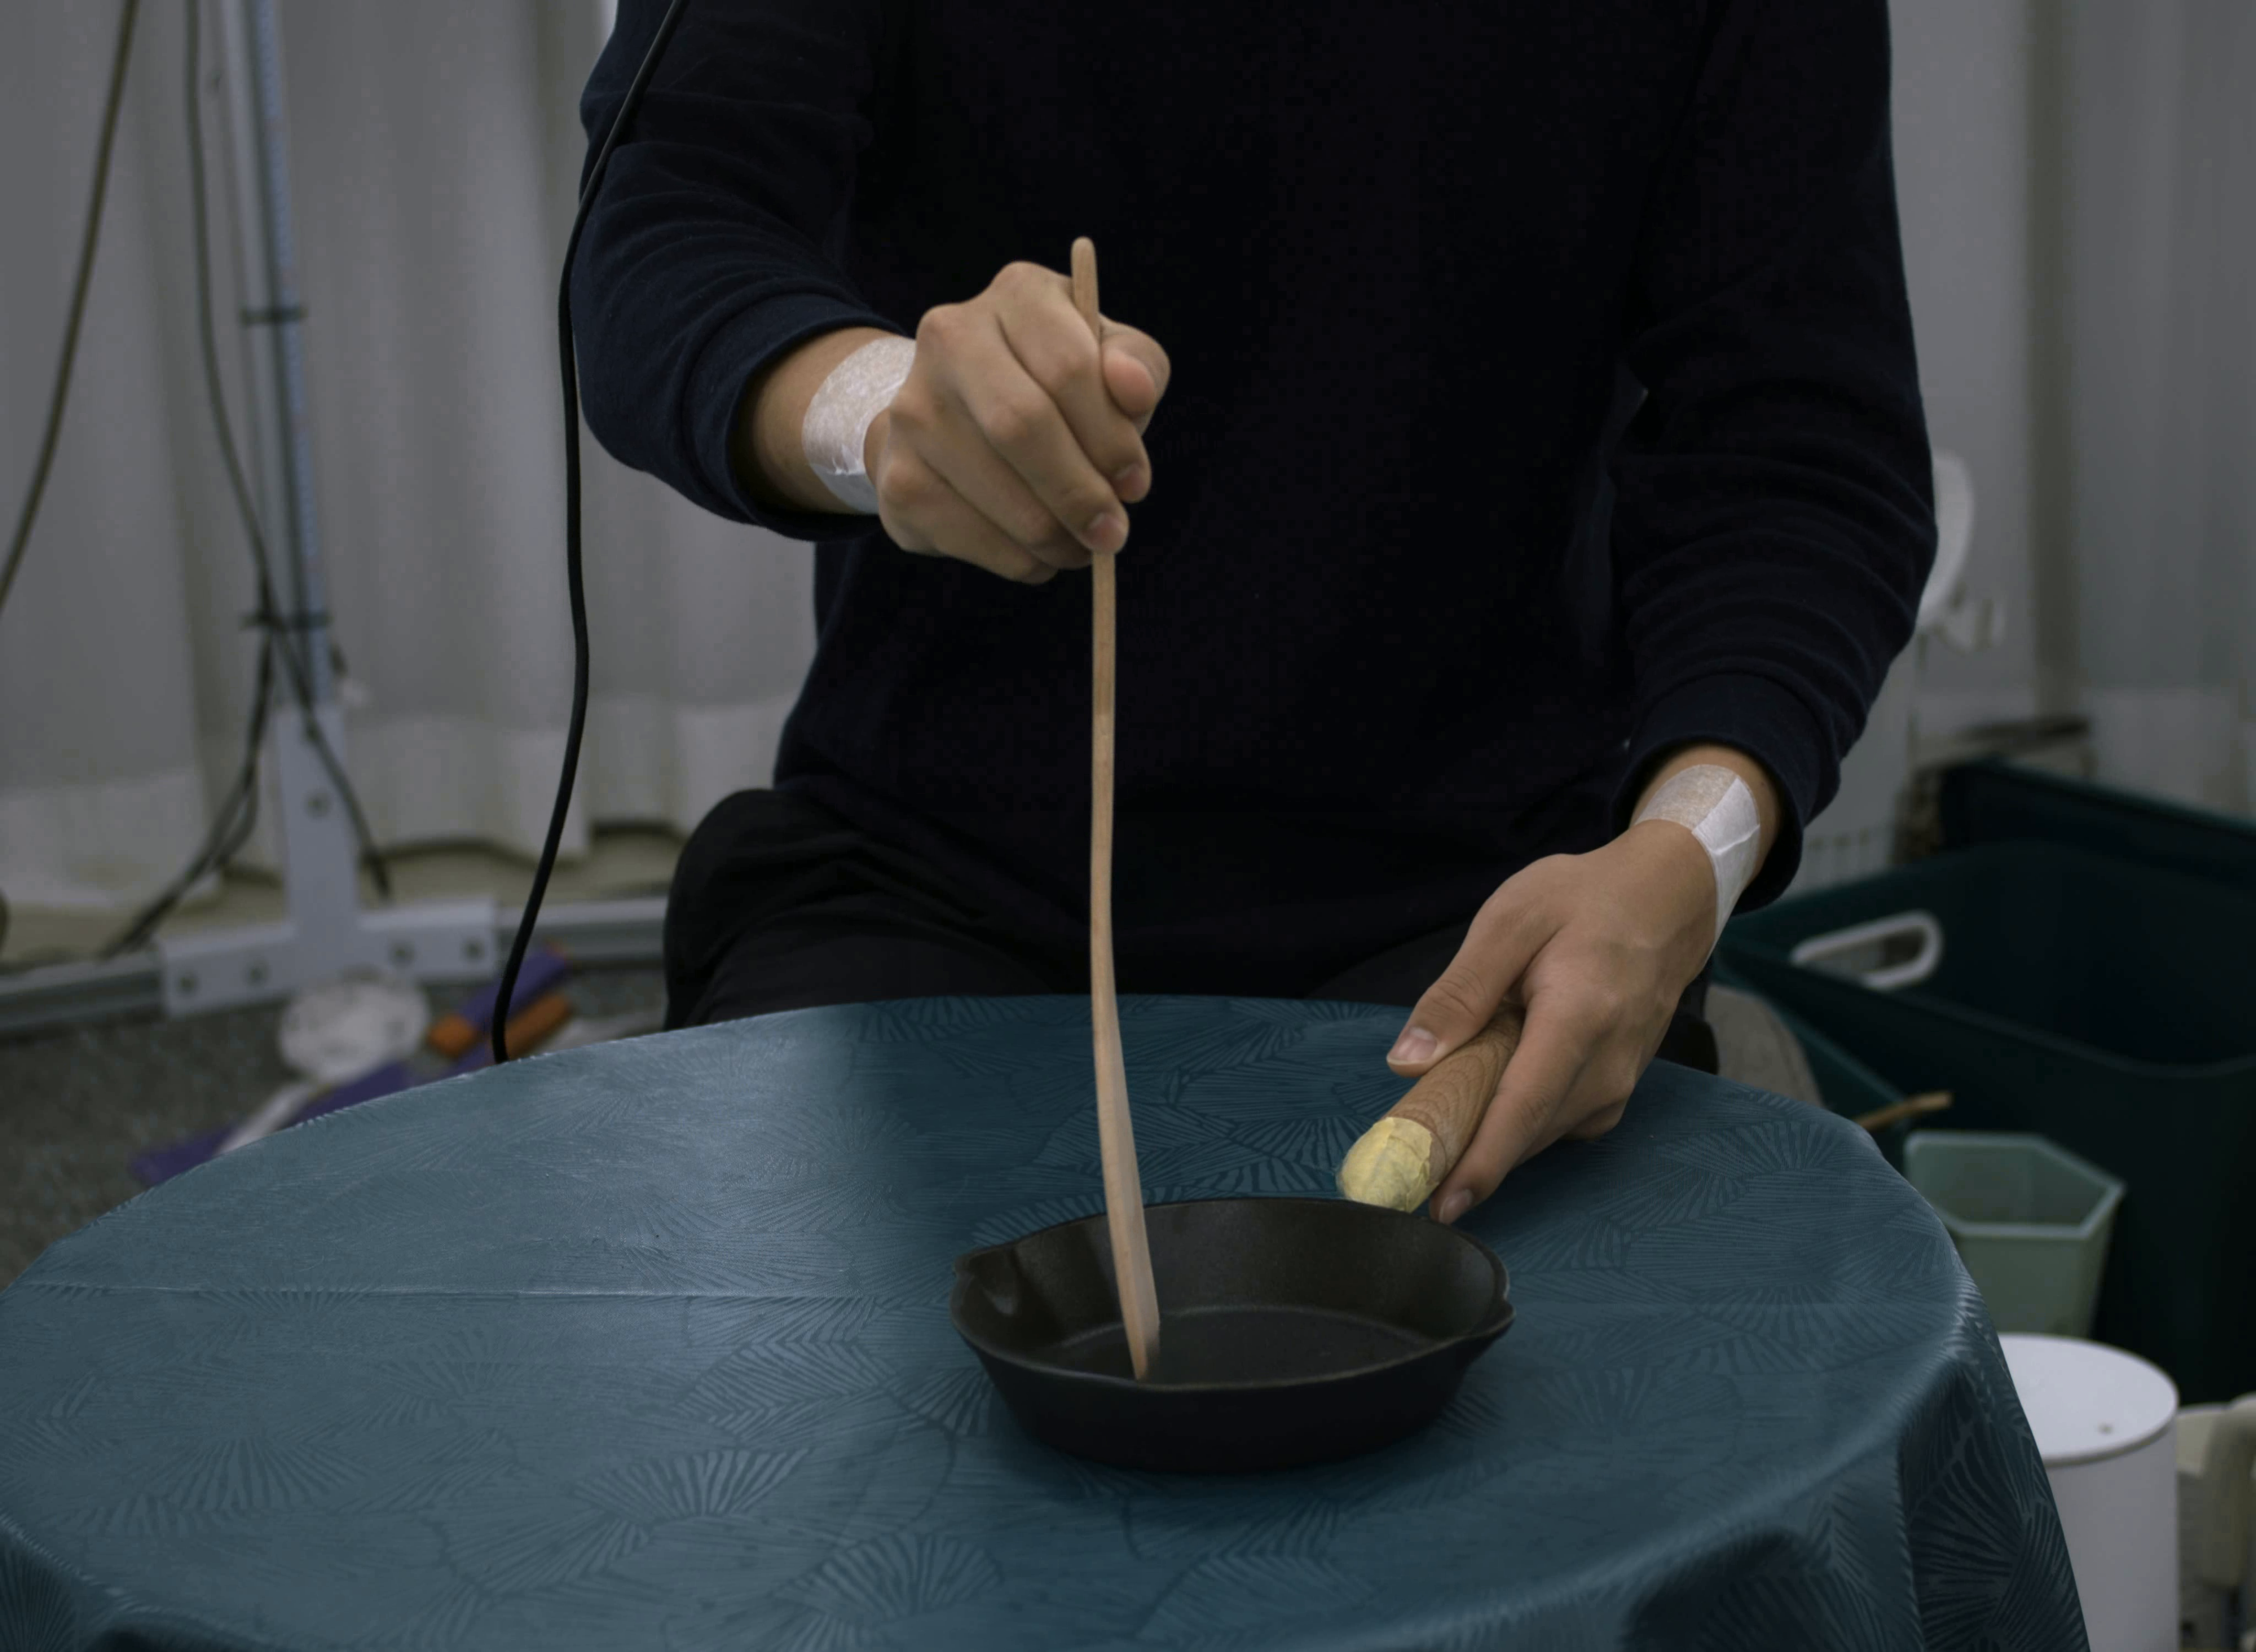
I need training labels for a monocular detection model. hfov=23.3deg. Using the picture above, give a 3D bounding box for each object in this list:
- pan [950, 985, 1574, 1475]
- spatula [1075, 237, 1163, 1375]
[{"bbox_3d":[0.067,0.115,1.605,0.169,0.049,0.325,5,18,27],"label":"pan"},{"bbox_3d":[-0.002,0.000,1.531,0.016,0.328,0.080,-2,4,2],"label":"spatula"}]
